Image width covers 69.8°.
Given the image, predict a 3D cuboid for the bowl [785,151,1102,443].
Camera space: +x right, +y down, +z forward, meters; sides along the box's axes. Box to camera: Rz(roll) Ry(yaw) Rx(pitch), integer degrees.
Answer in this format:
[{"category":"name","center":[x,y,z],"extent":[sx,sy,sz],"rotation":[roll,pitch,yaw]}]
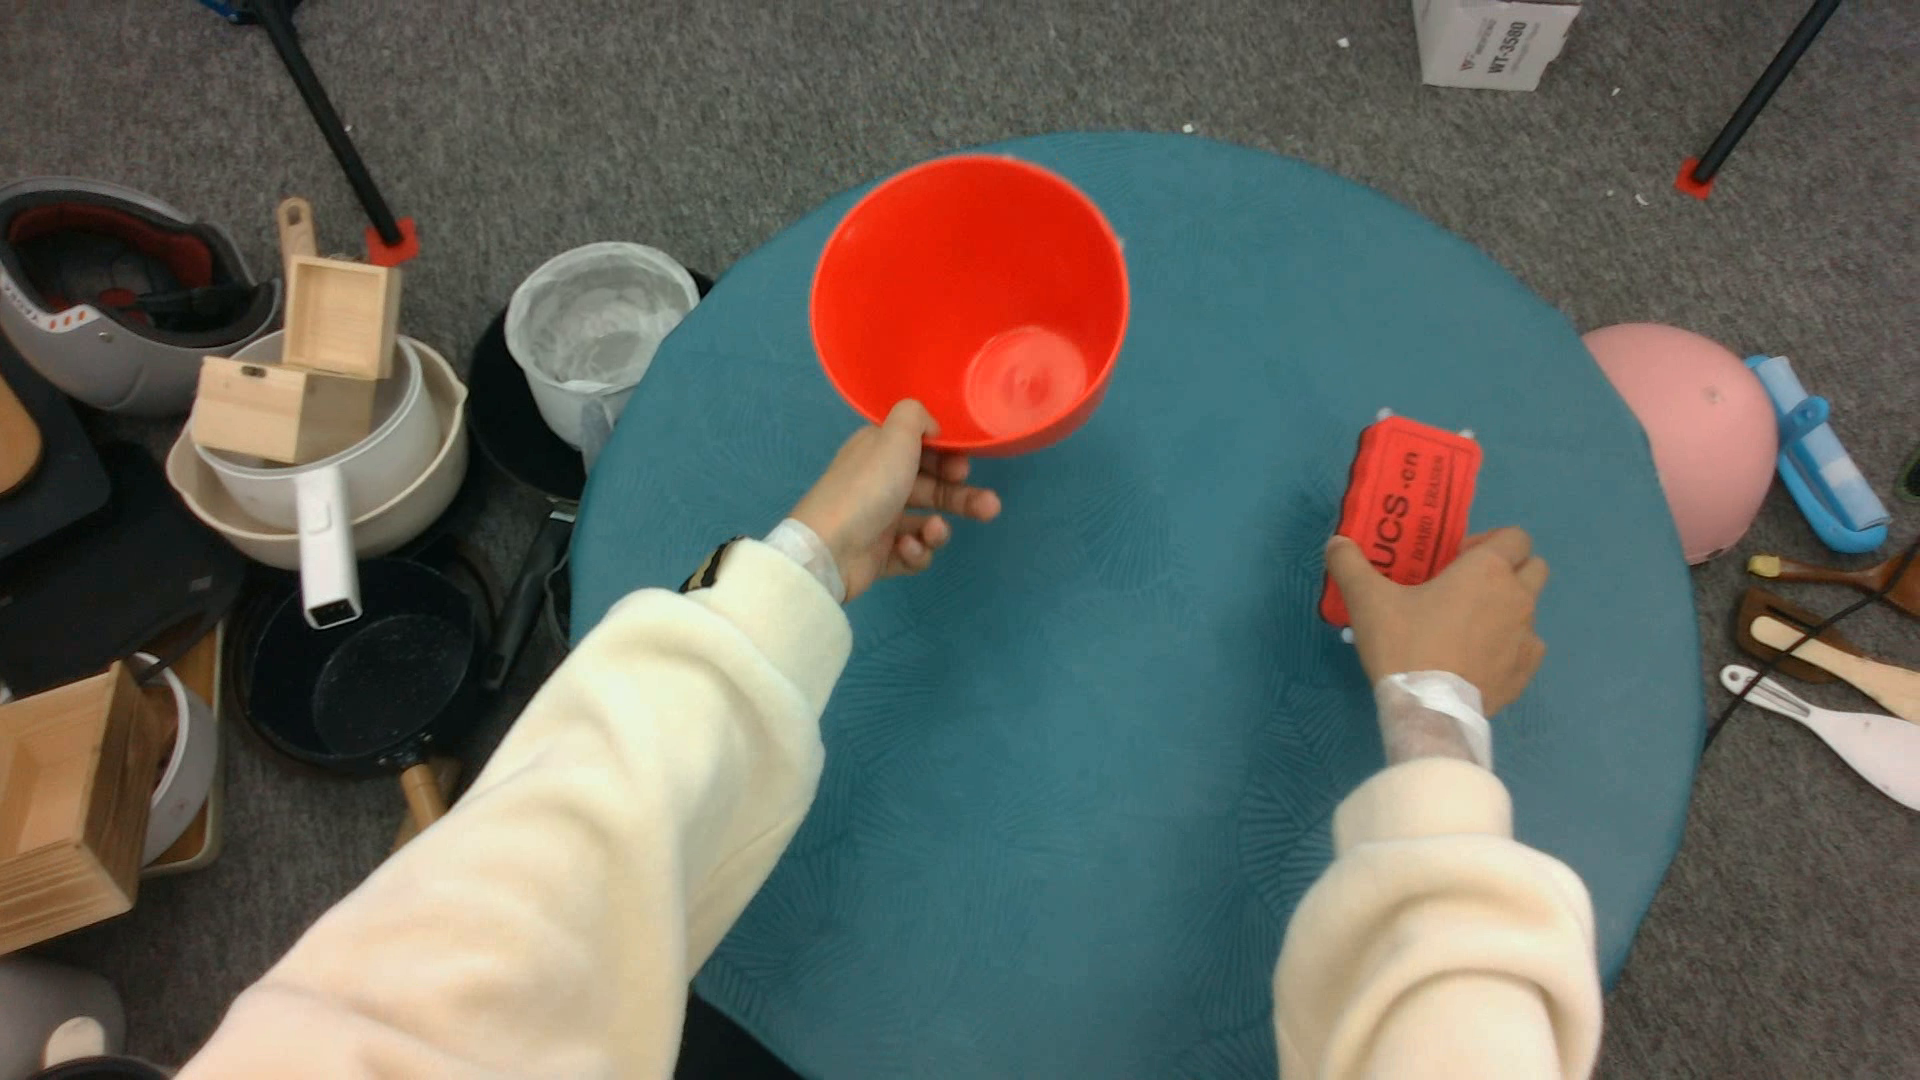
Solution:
[{"category":"bowl","center":[0.000,-0.105,0.682],"extent":[0.148,0.104,0.148],"rotation":[-4,68,10]}]

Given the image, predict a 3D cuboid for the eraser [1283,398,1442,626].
[{"category":"eraser","center":[0.205,-0.014,0.701],"extent":[0.059,0.023,0.108],"rotation":[19,81,-16]}]
